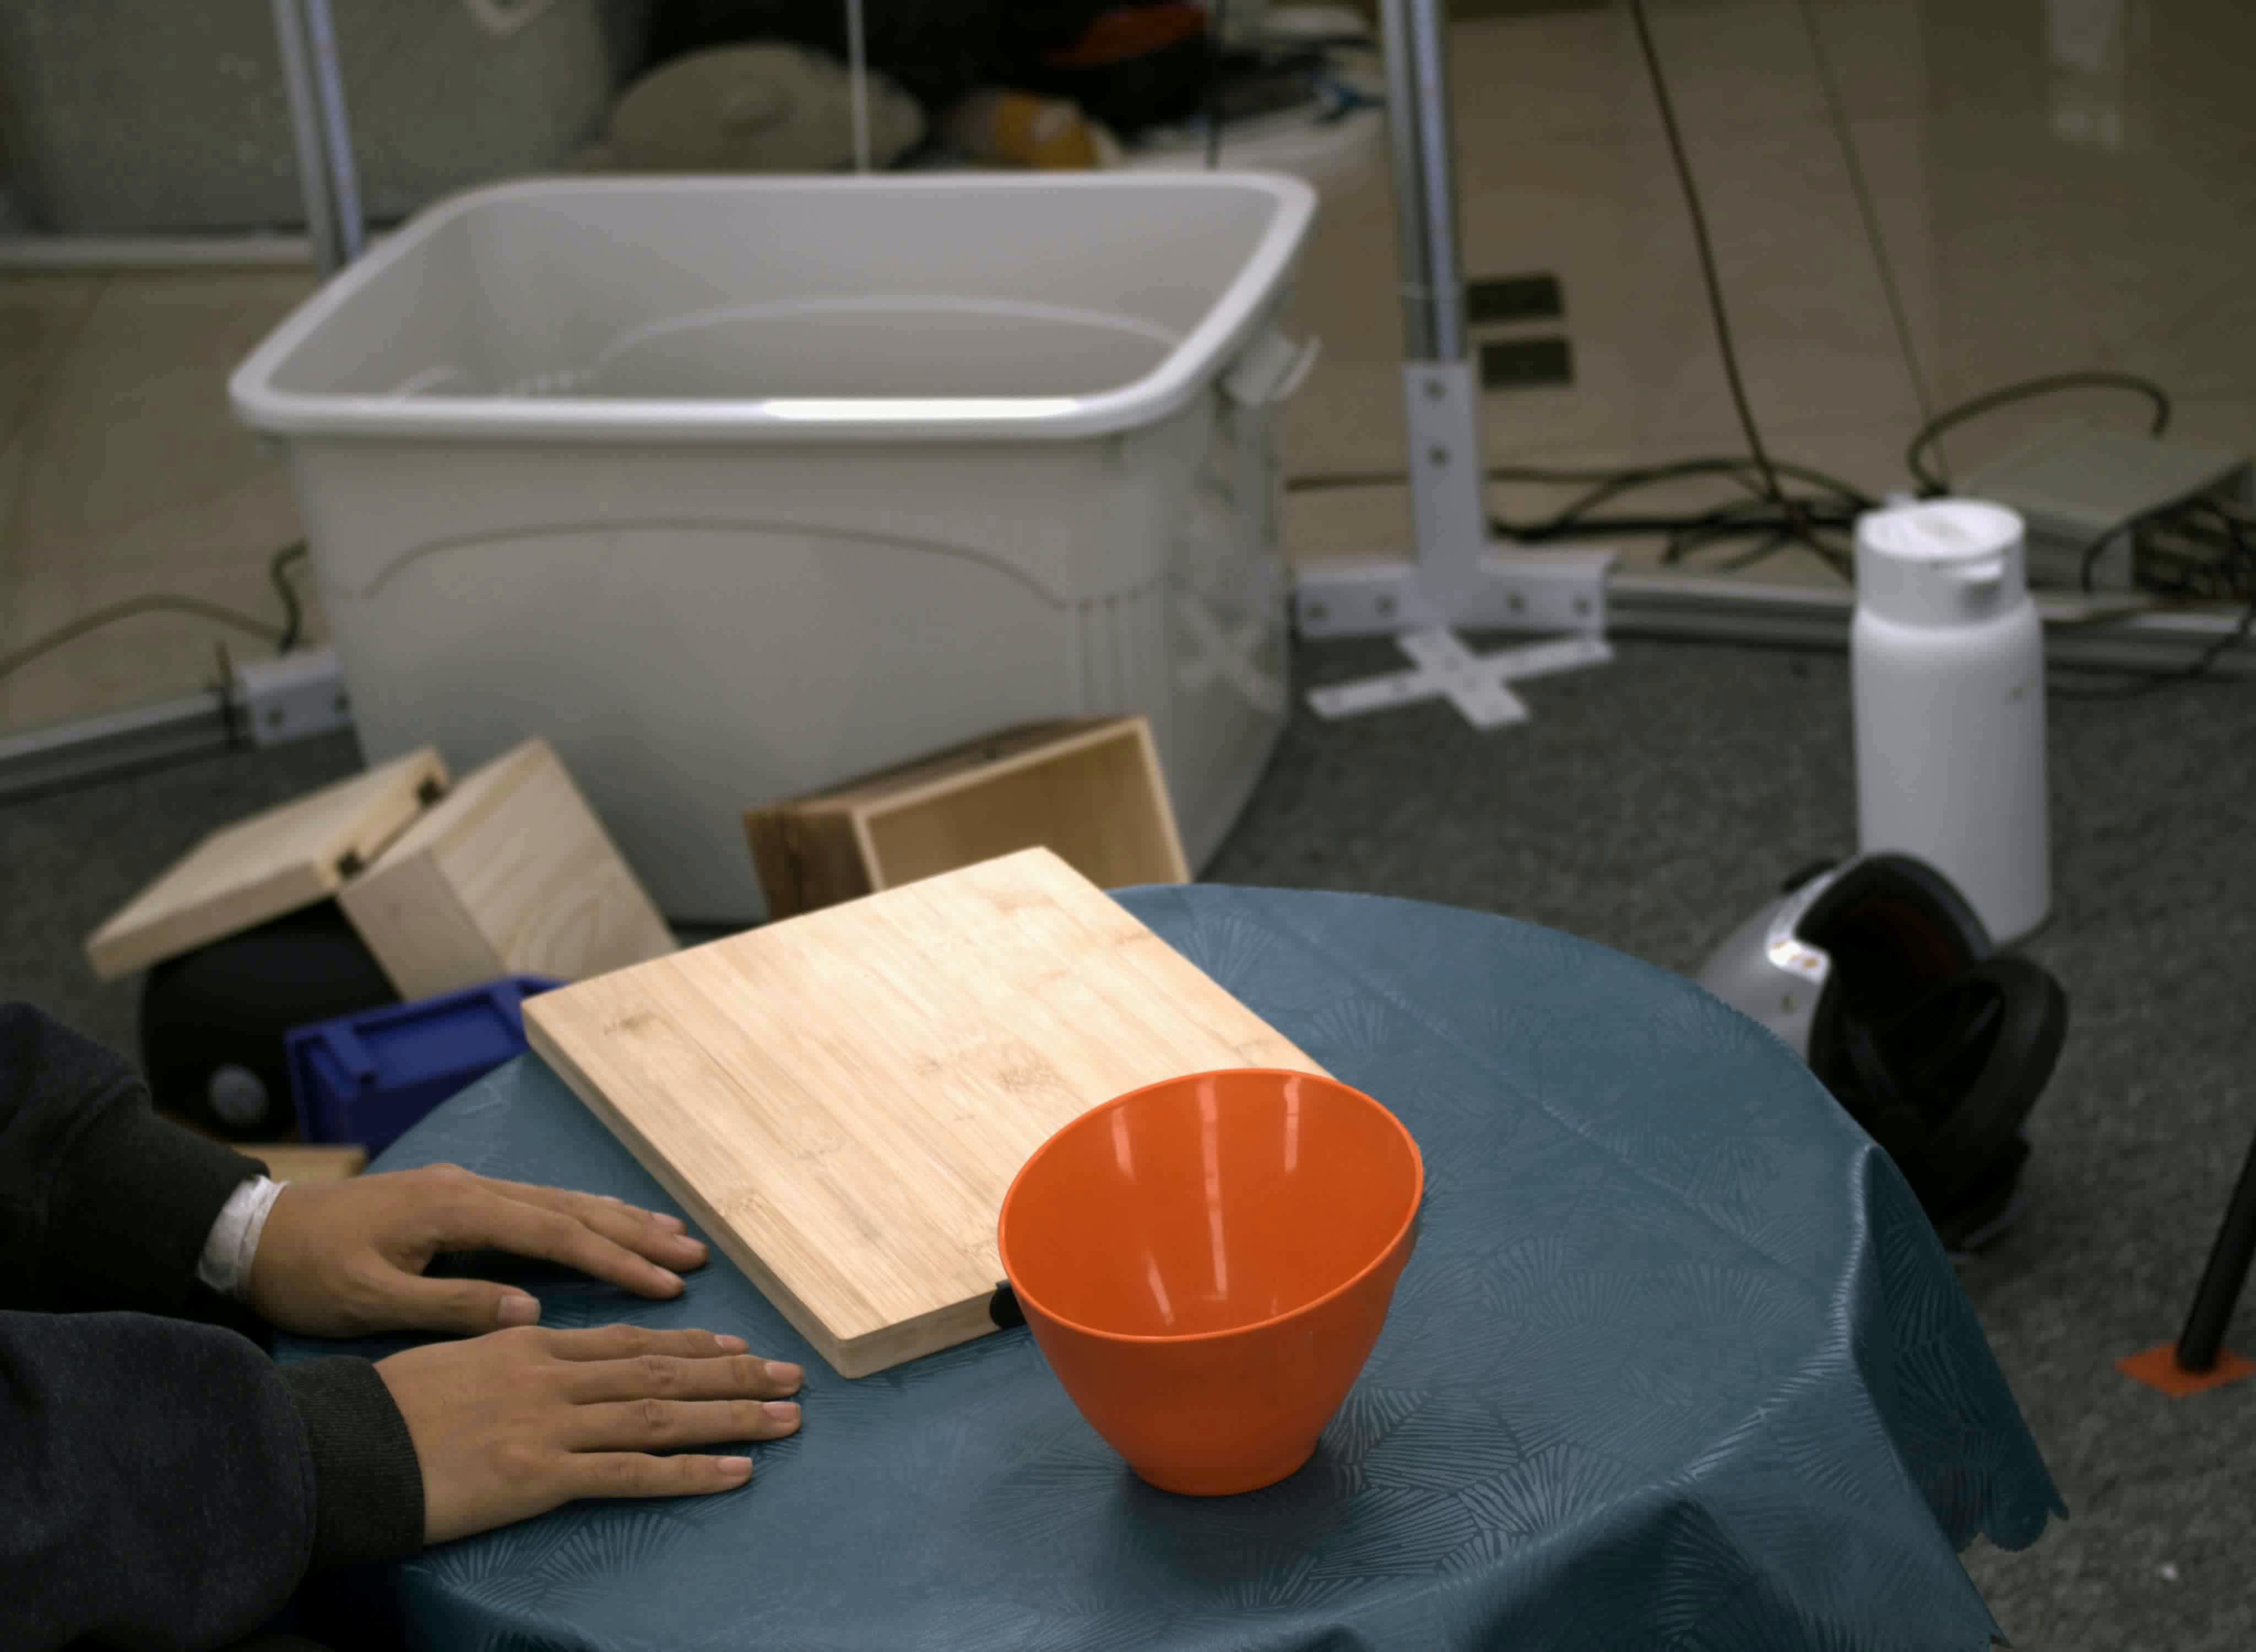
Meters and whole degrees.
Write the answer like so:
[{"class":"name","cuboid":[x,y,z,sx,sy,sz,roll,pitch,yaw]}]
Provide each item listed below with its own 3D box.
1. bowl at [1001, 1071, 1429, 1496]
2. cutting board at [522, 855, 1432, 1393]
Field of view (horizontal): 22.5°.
[{"class":"bowl","cuboid":[0.032,0.165,1.960,0.148,0.106,0.146,-3,26,2]},{"class":"cutting board","cuboid":[-0.067,0.107,2.213,0.249,0.024,0.344,-18,27,-21]}]
